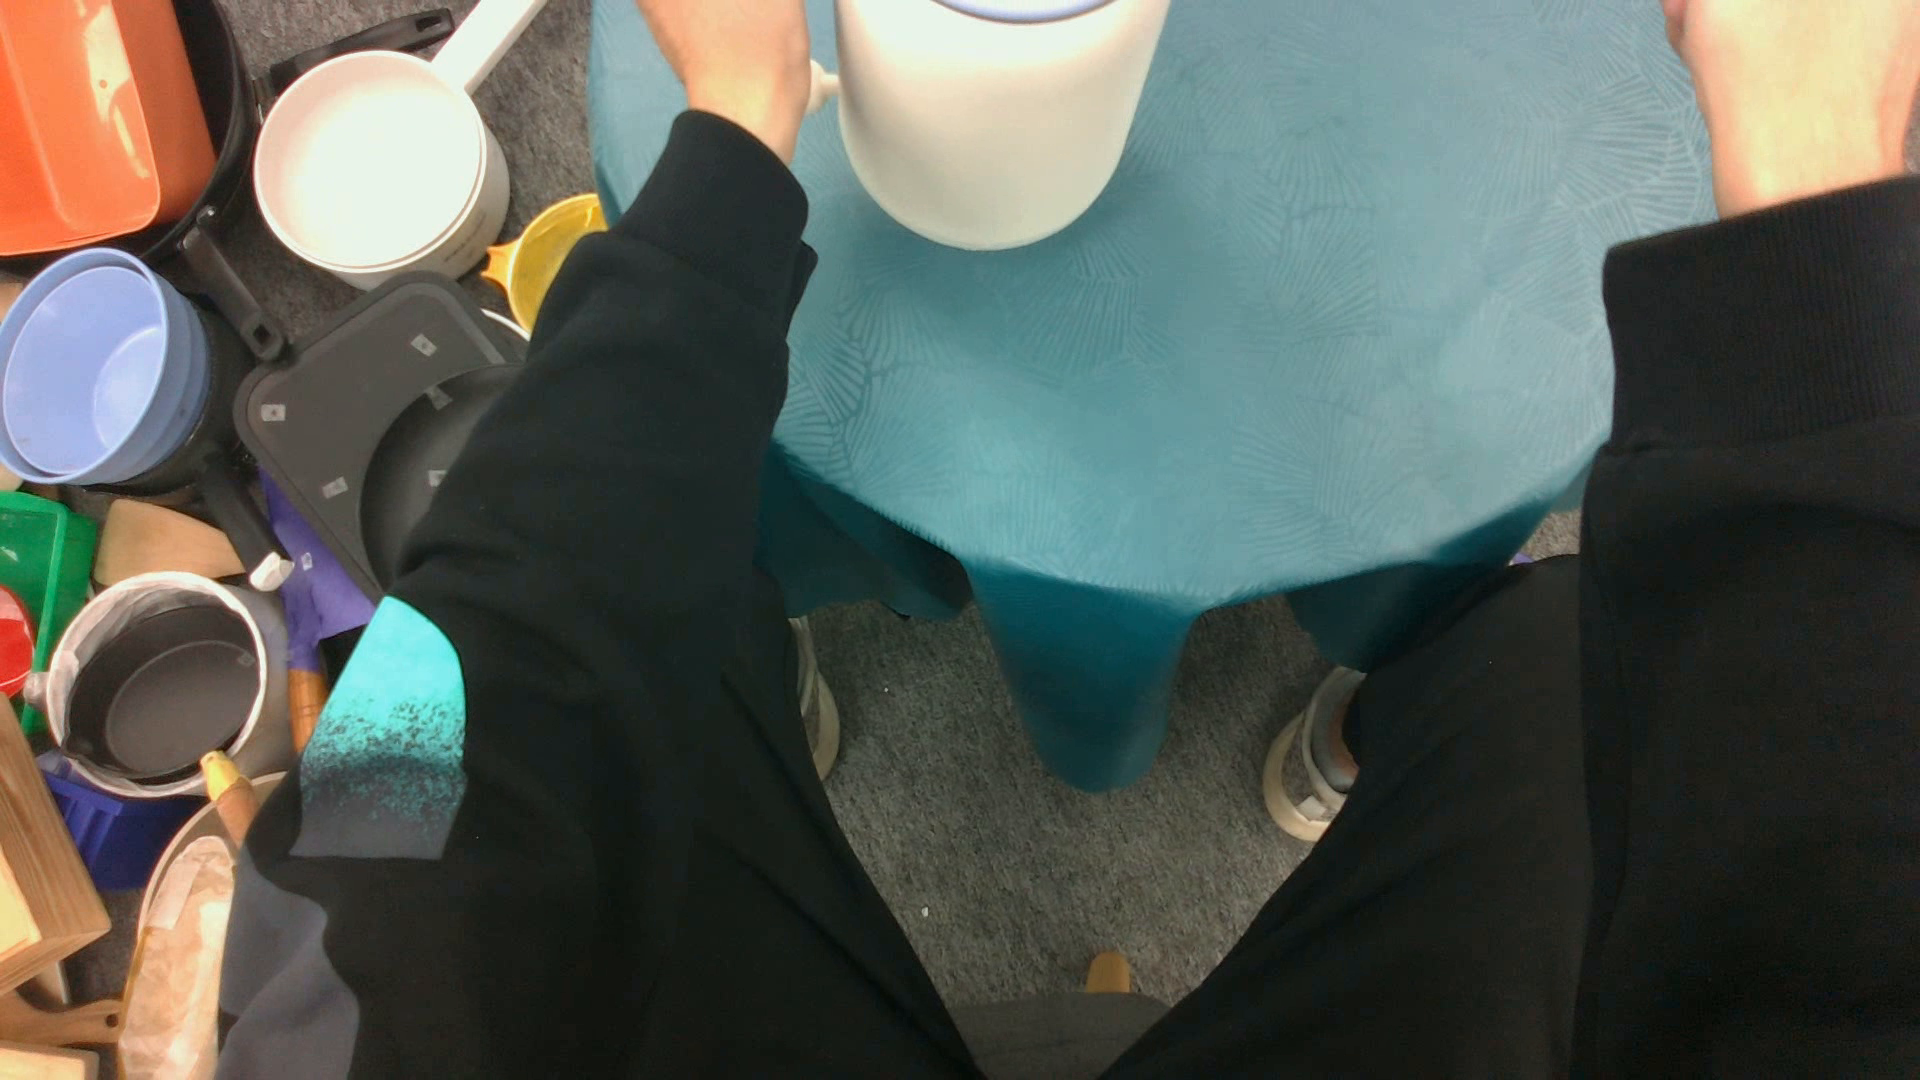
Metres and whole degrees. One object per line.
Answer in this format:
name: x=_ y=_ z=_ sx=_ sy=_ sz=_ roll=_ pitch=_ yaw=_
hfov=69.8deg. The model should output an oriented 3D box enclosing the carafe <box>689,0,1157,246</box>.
carafe: x=-0.014 y=-0.215 z=0.558 sx=0.191 sy=0.182 sz=0.132 roll=1 pitch=75 yaw=-2
